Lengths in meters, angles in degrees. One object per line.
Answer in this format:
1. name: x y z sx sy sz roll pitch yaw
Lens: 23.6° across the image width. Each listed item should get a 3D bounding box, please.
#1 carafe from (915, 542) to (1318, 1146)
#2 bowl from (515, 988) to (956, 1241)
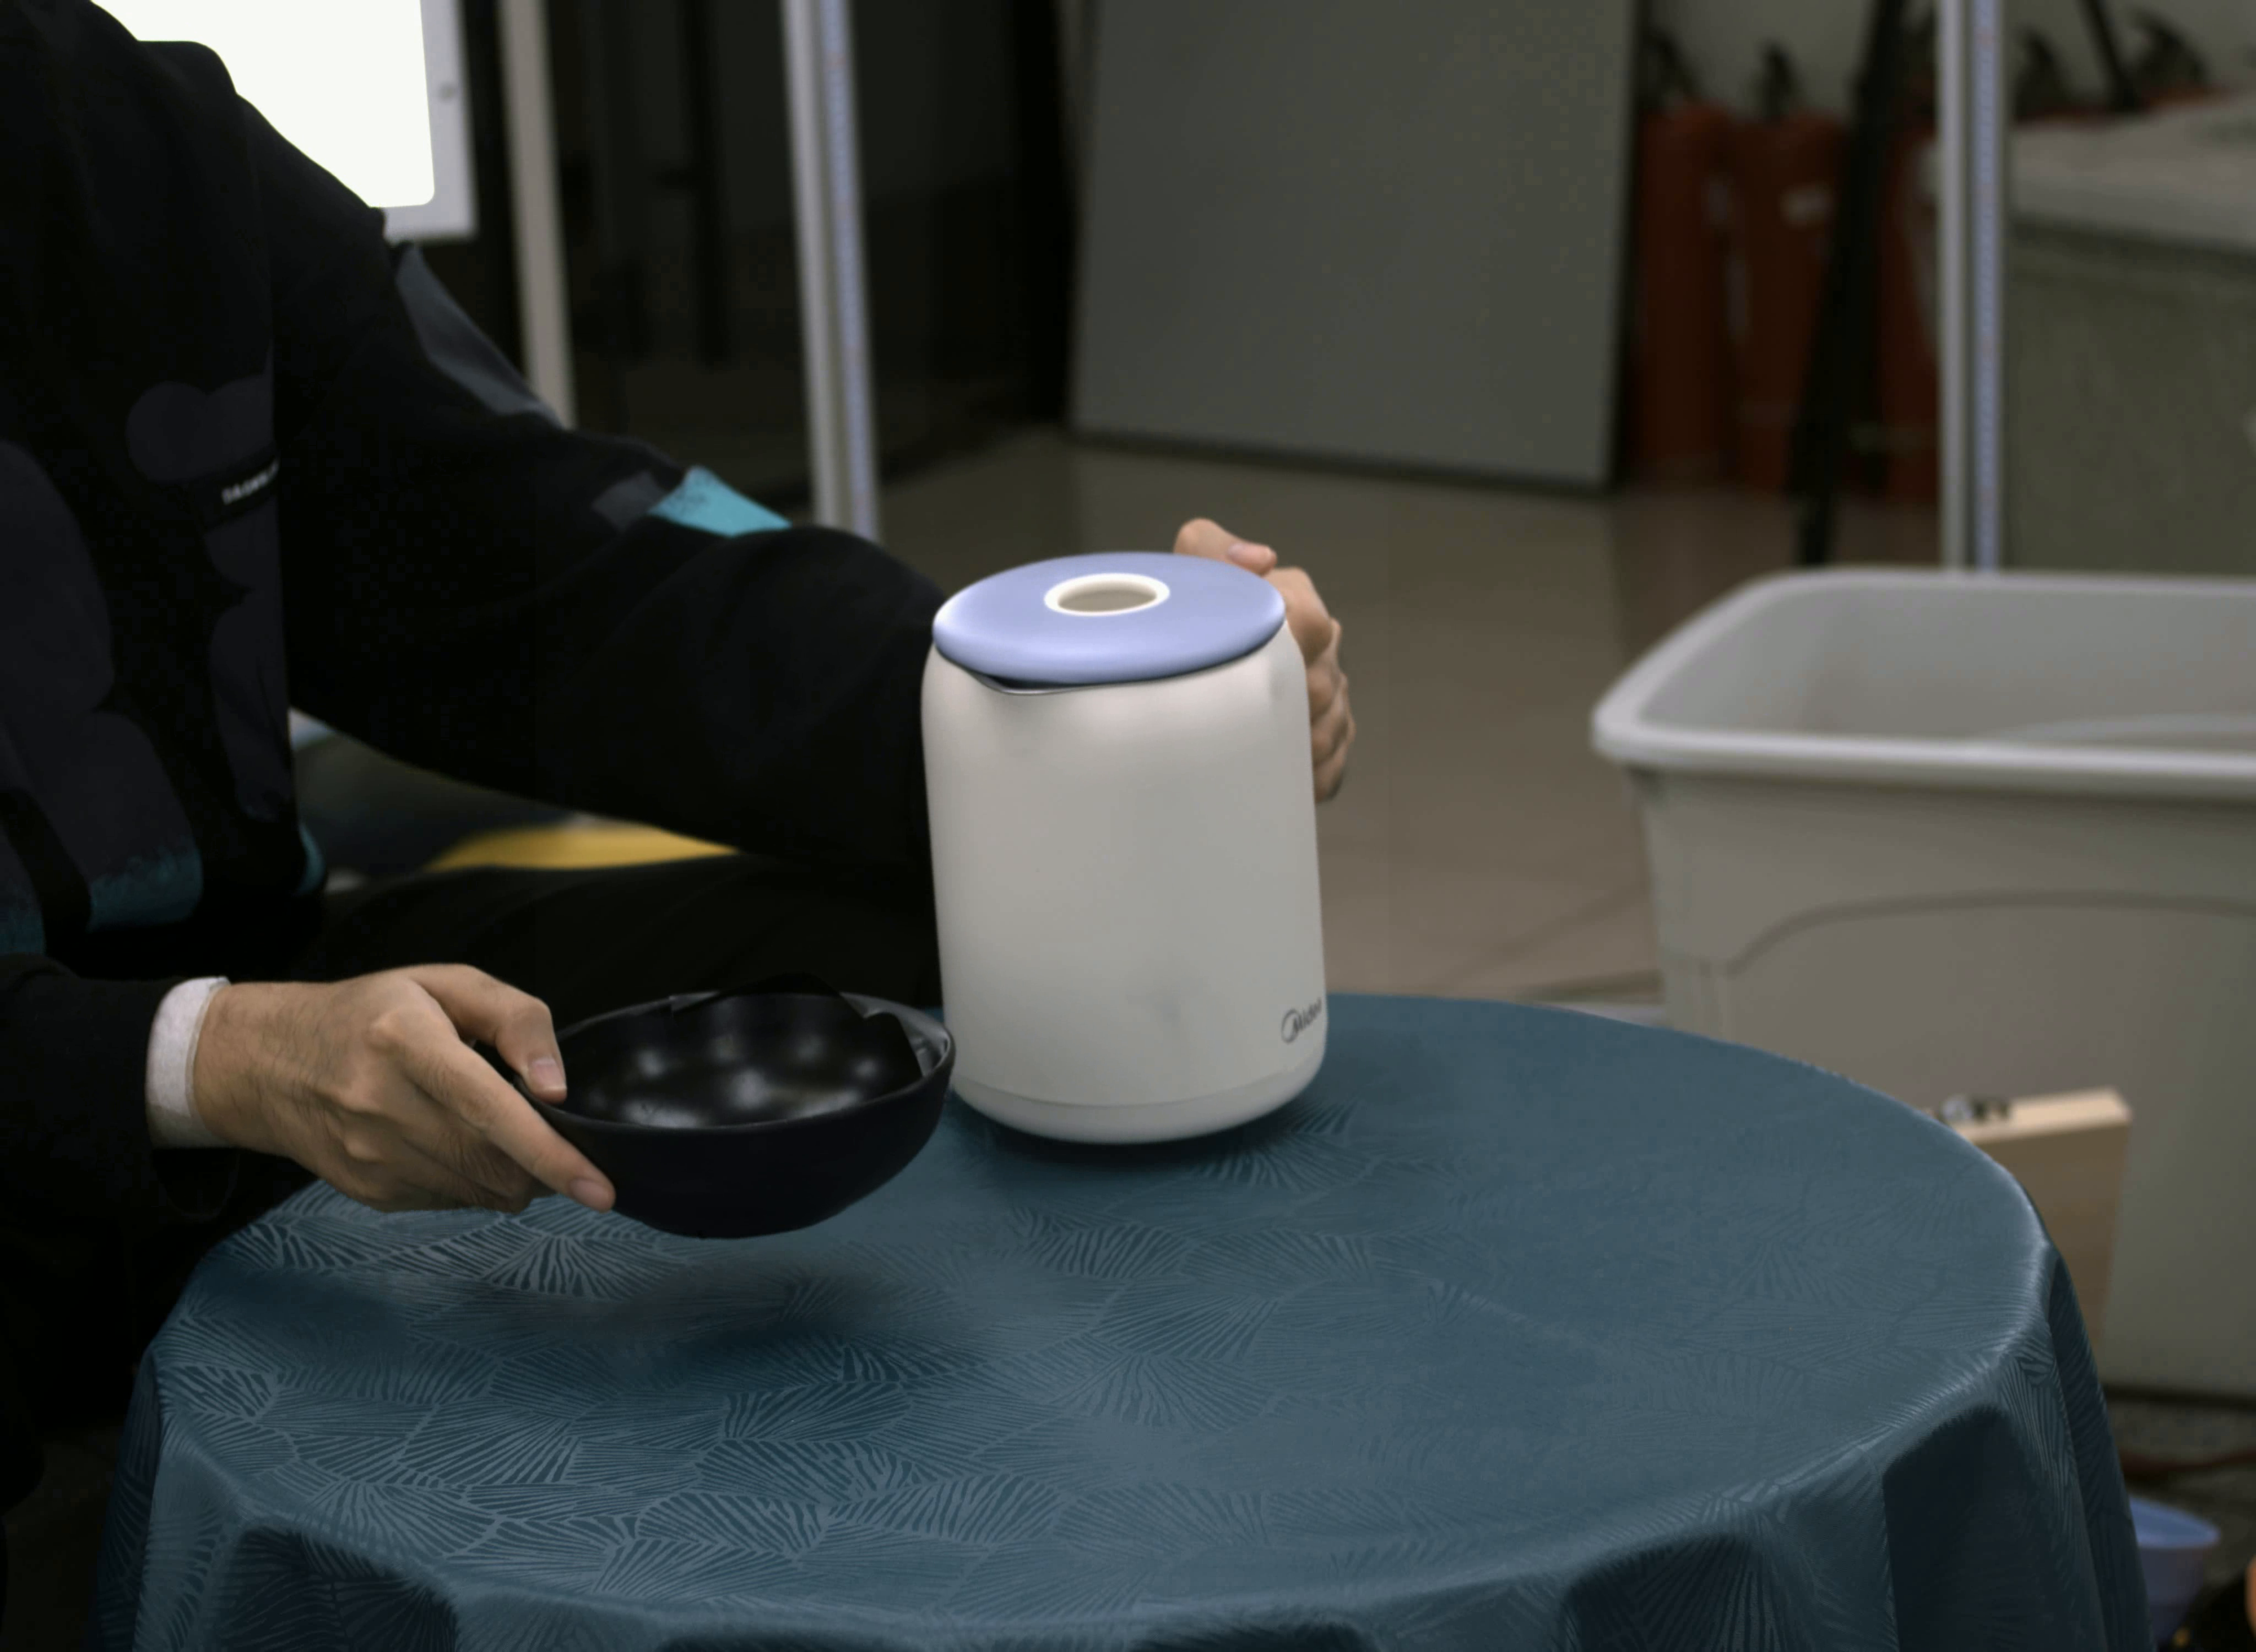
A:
1. carafe: 0.007 -0.002 1.836 0.132 0.184 0.188 7 21 26
2. bowl: -0.119 0.094 1.683 0.138 0.050 0.140 -6 14 1
